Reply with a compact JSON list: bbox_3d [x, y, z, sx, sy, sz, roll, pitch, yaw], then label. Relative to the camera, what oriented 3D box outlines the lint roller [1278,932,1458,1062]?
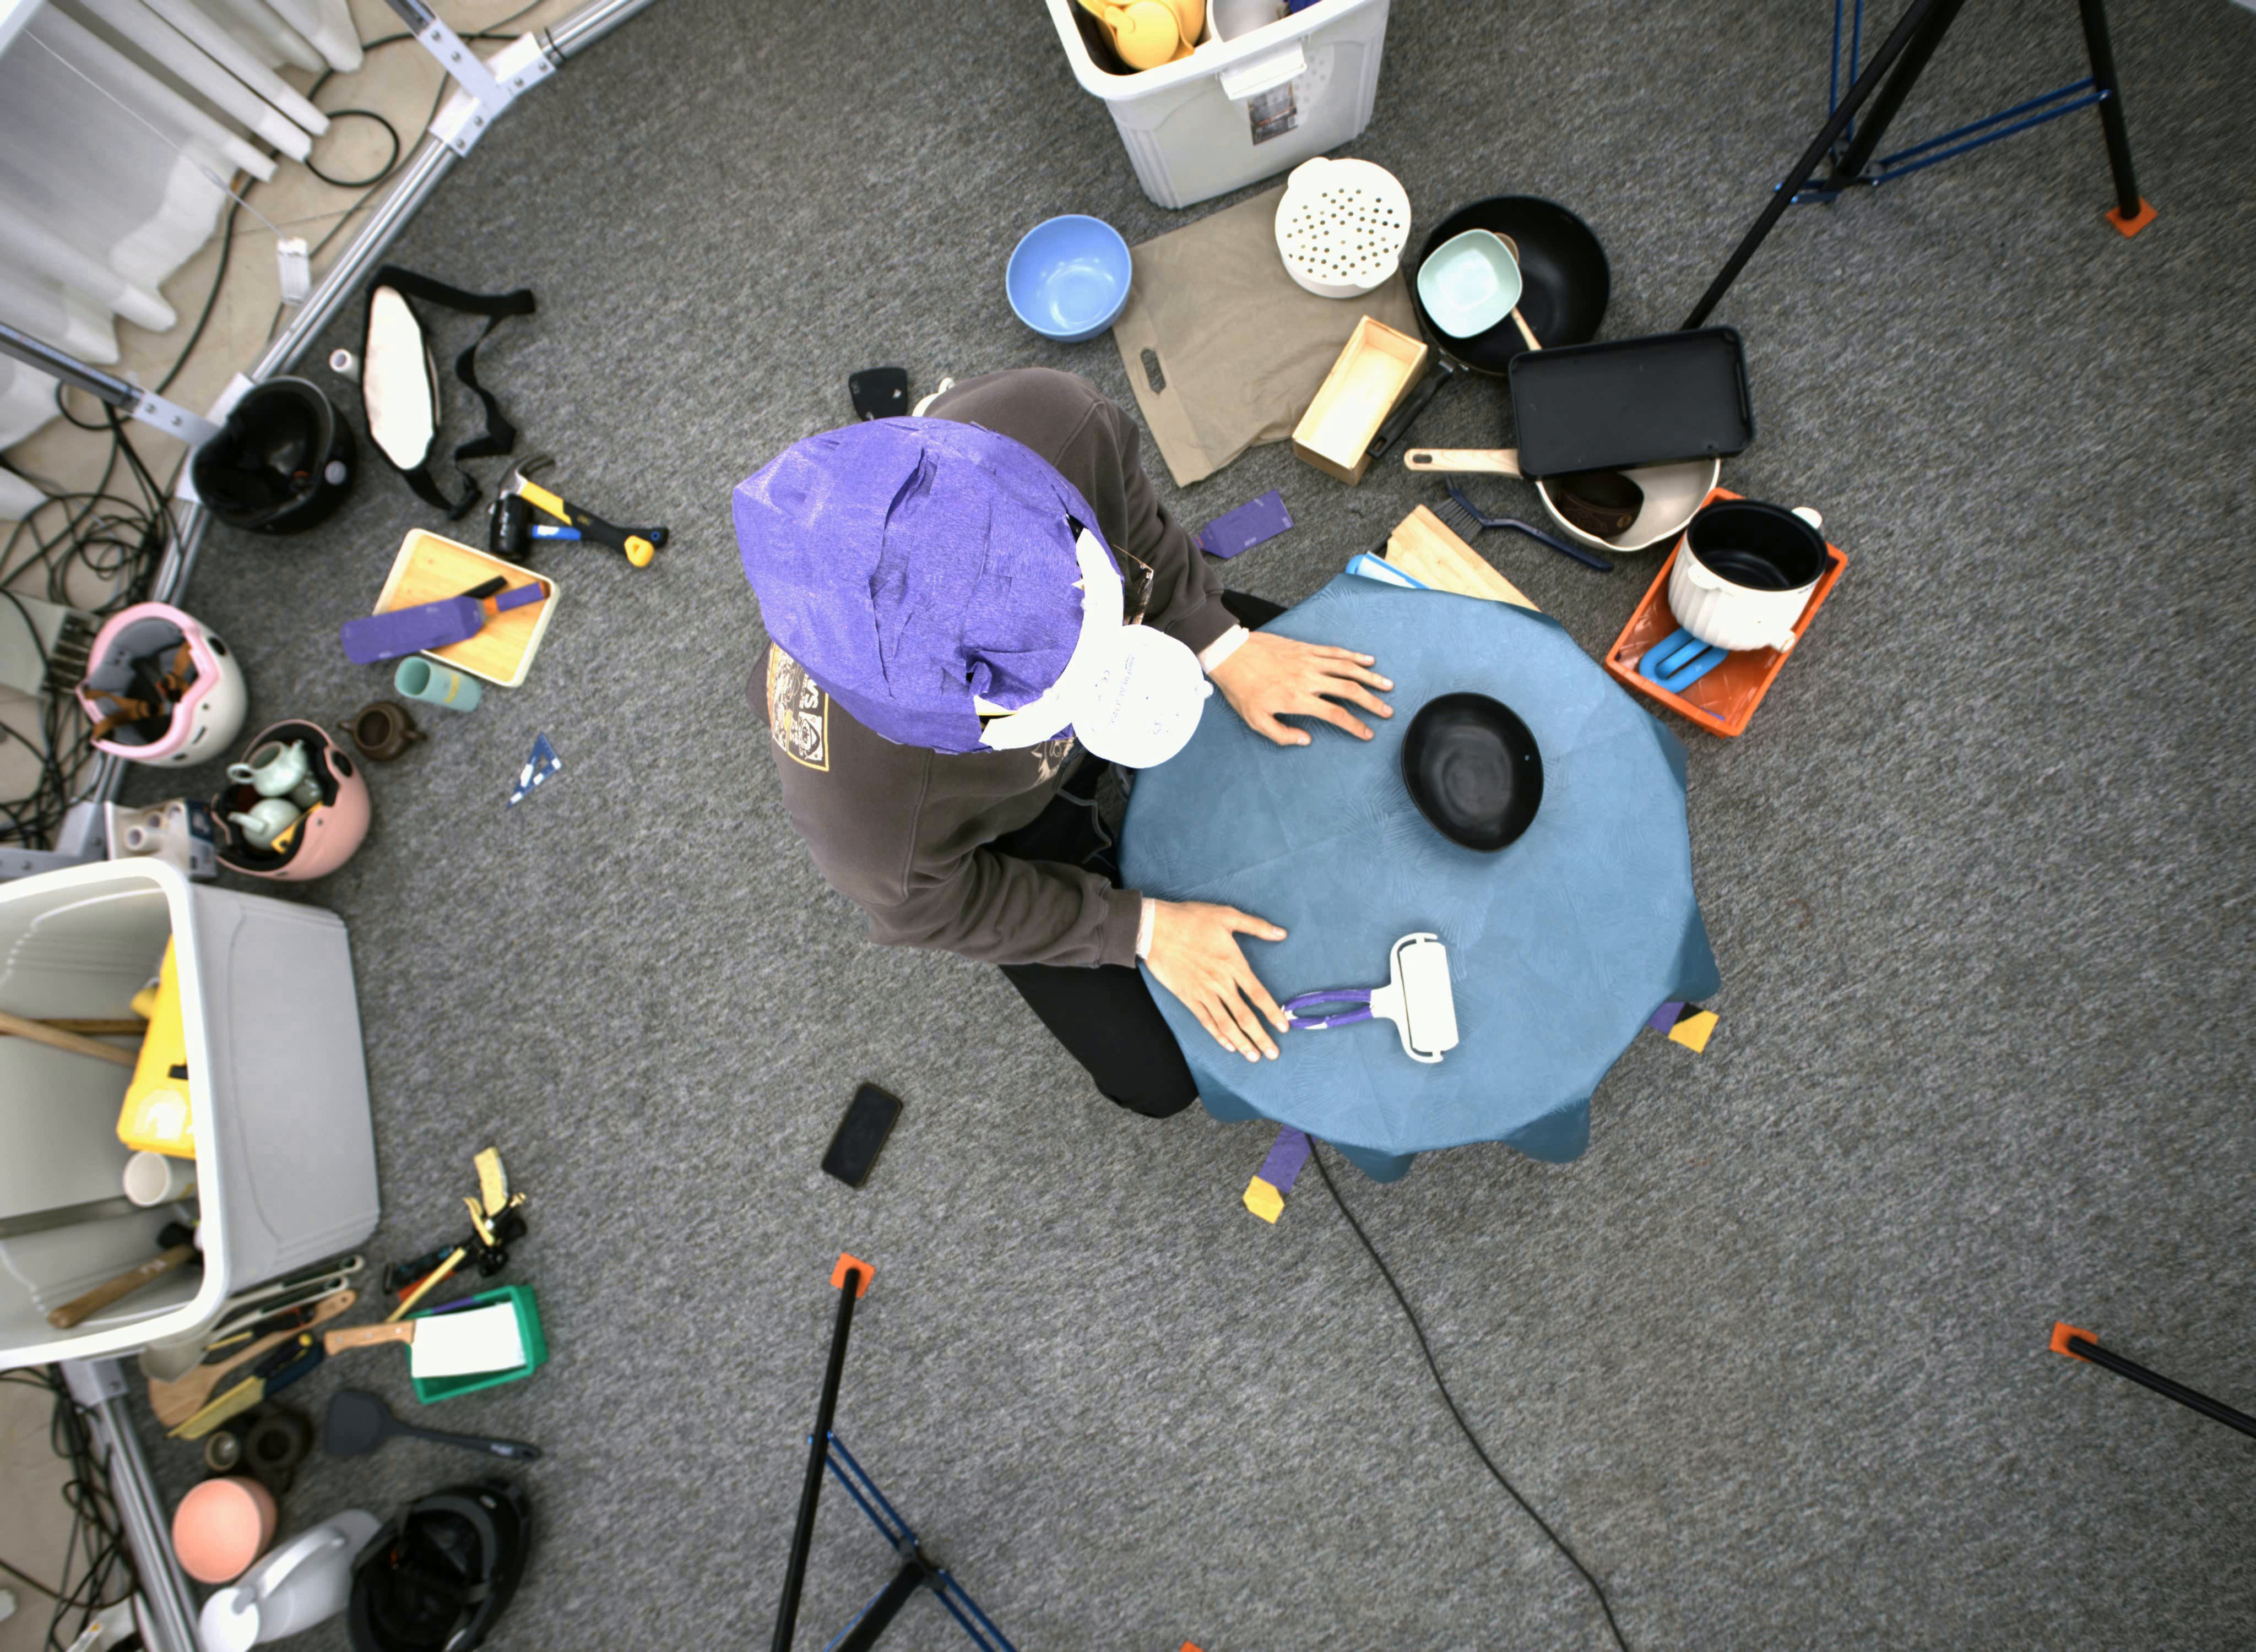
[{"bbox_3d":[0.245,0.181,1.433,0.181,0.050,0.132,-6,87,8],"label":"lint roller"}]

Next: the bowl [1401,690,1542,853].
[{"bbox_3d":[0.354,-0.057,1.416,0.138,0.066,0.169,-23,85,9],"label":"bowl"}]
